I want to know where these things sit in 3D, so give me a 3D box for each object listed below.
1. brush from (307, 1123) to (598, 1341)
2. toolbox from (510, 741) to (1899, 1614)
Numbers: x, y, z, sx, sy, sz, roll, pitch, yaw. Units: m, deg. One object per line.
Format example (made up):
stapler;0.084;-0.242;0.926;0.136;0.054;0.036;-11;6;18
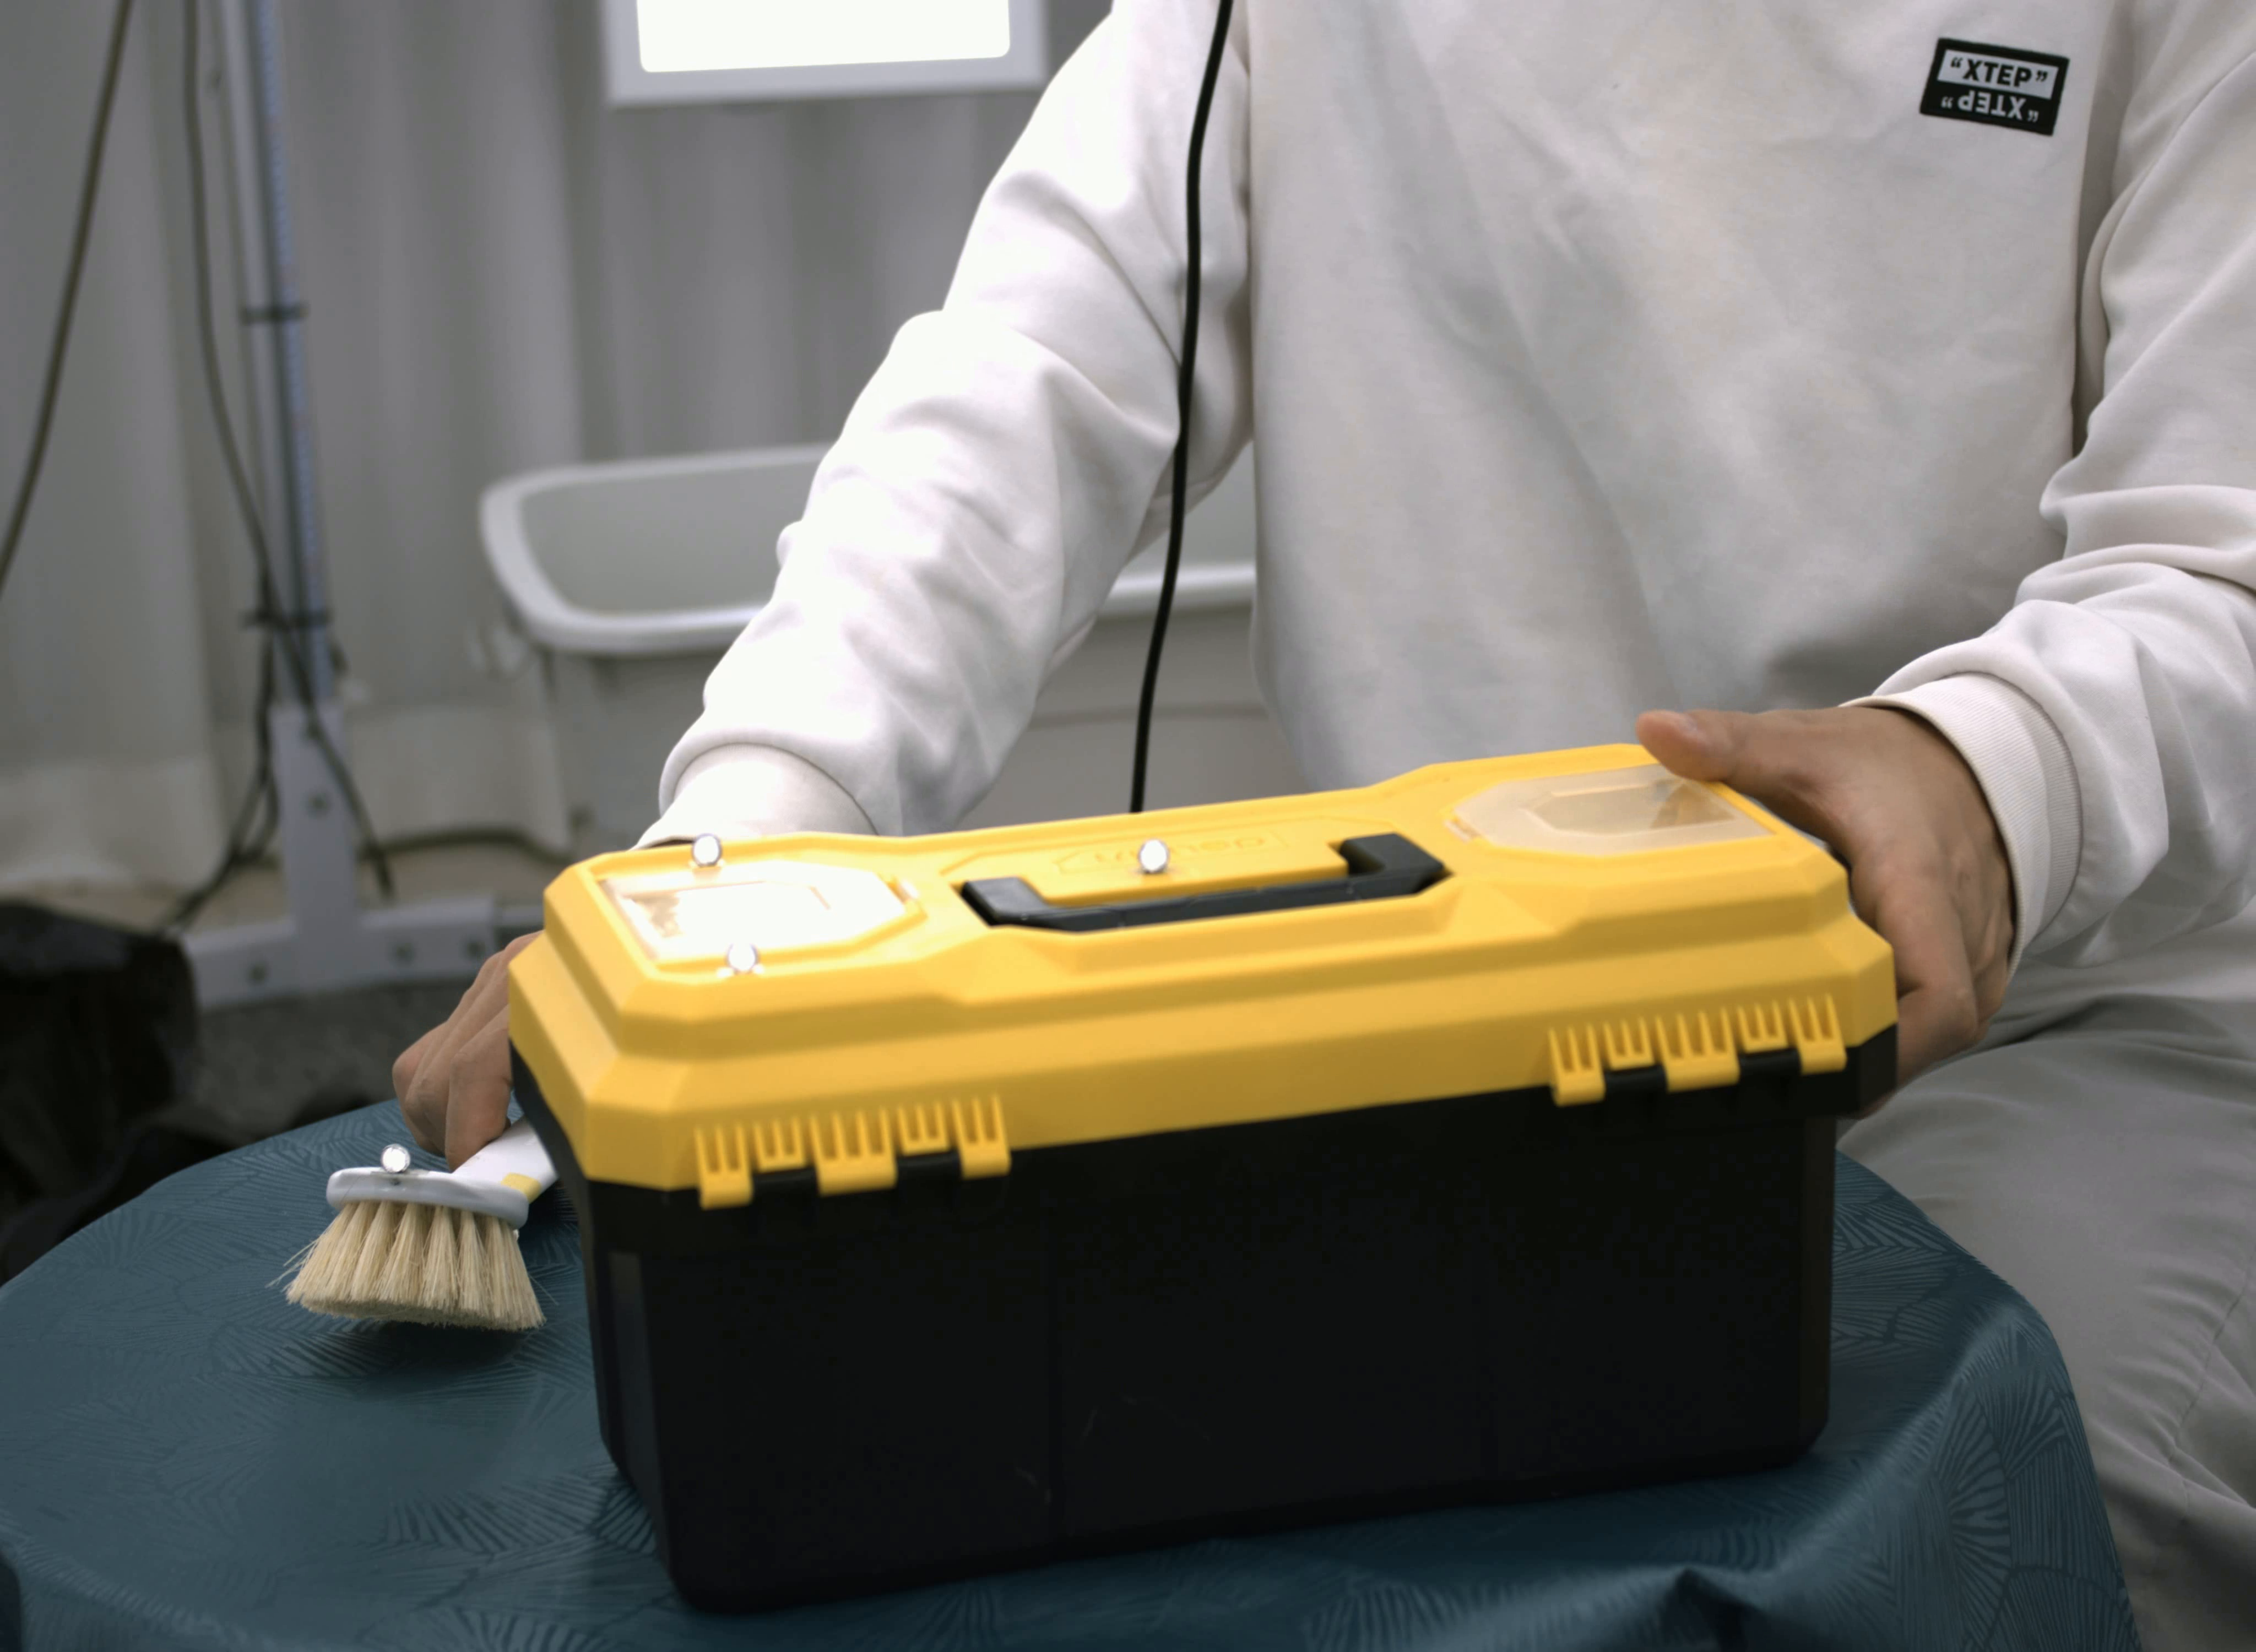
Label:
brush;-0.183;0.119;1.703;0.068;0.056;0.266;19;4;10
toolbox;0.019;0.090;1.473;0.350;0.172;0.183;-6;15;-13
